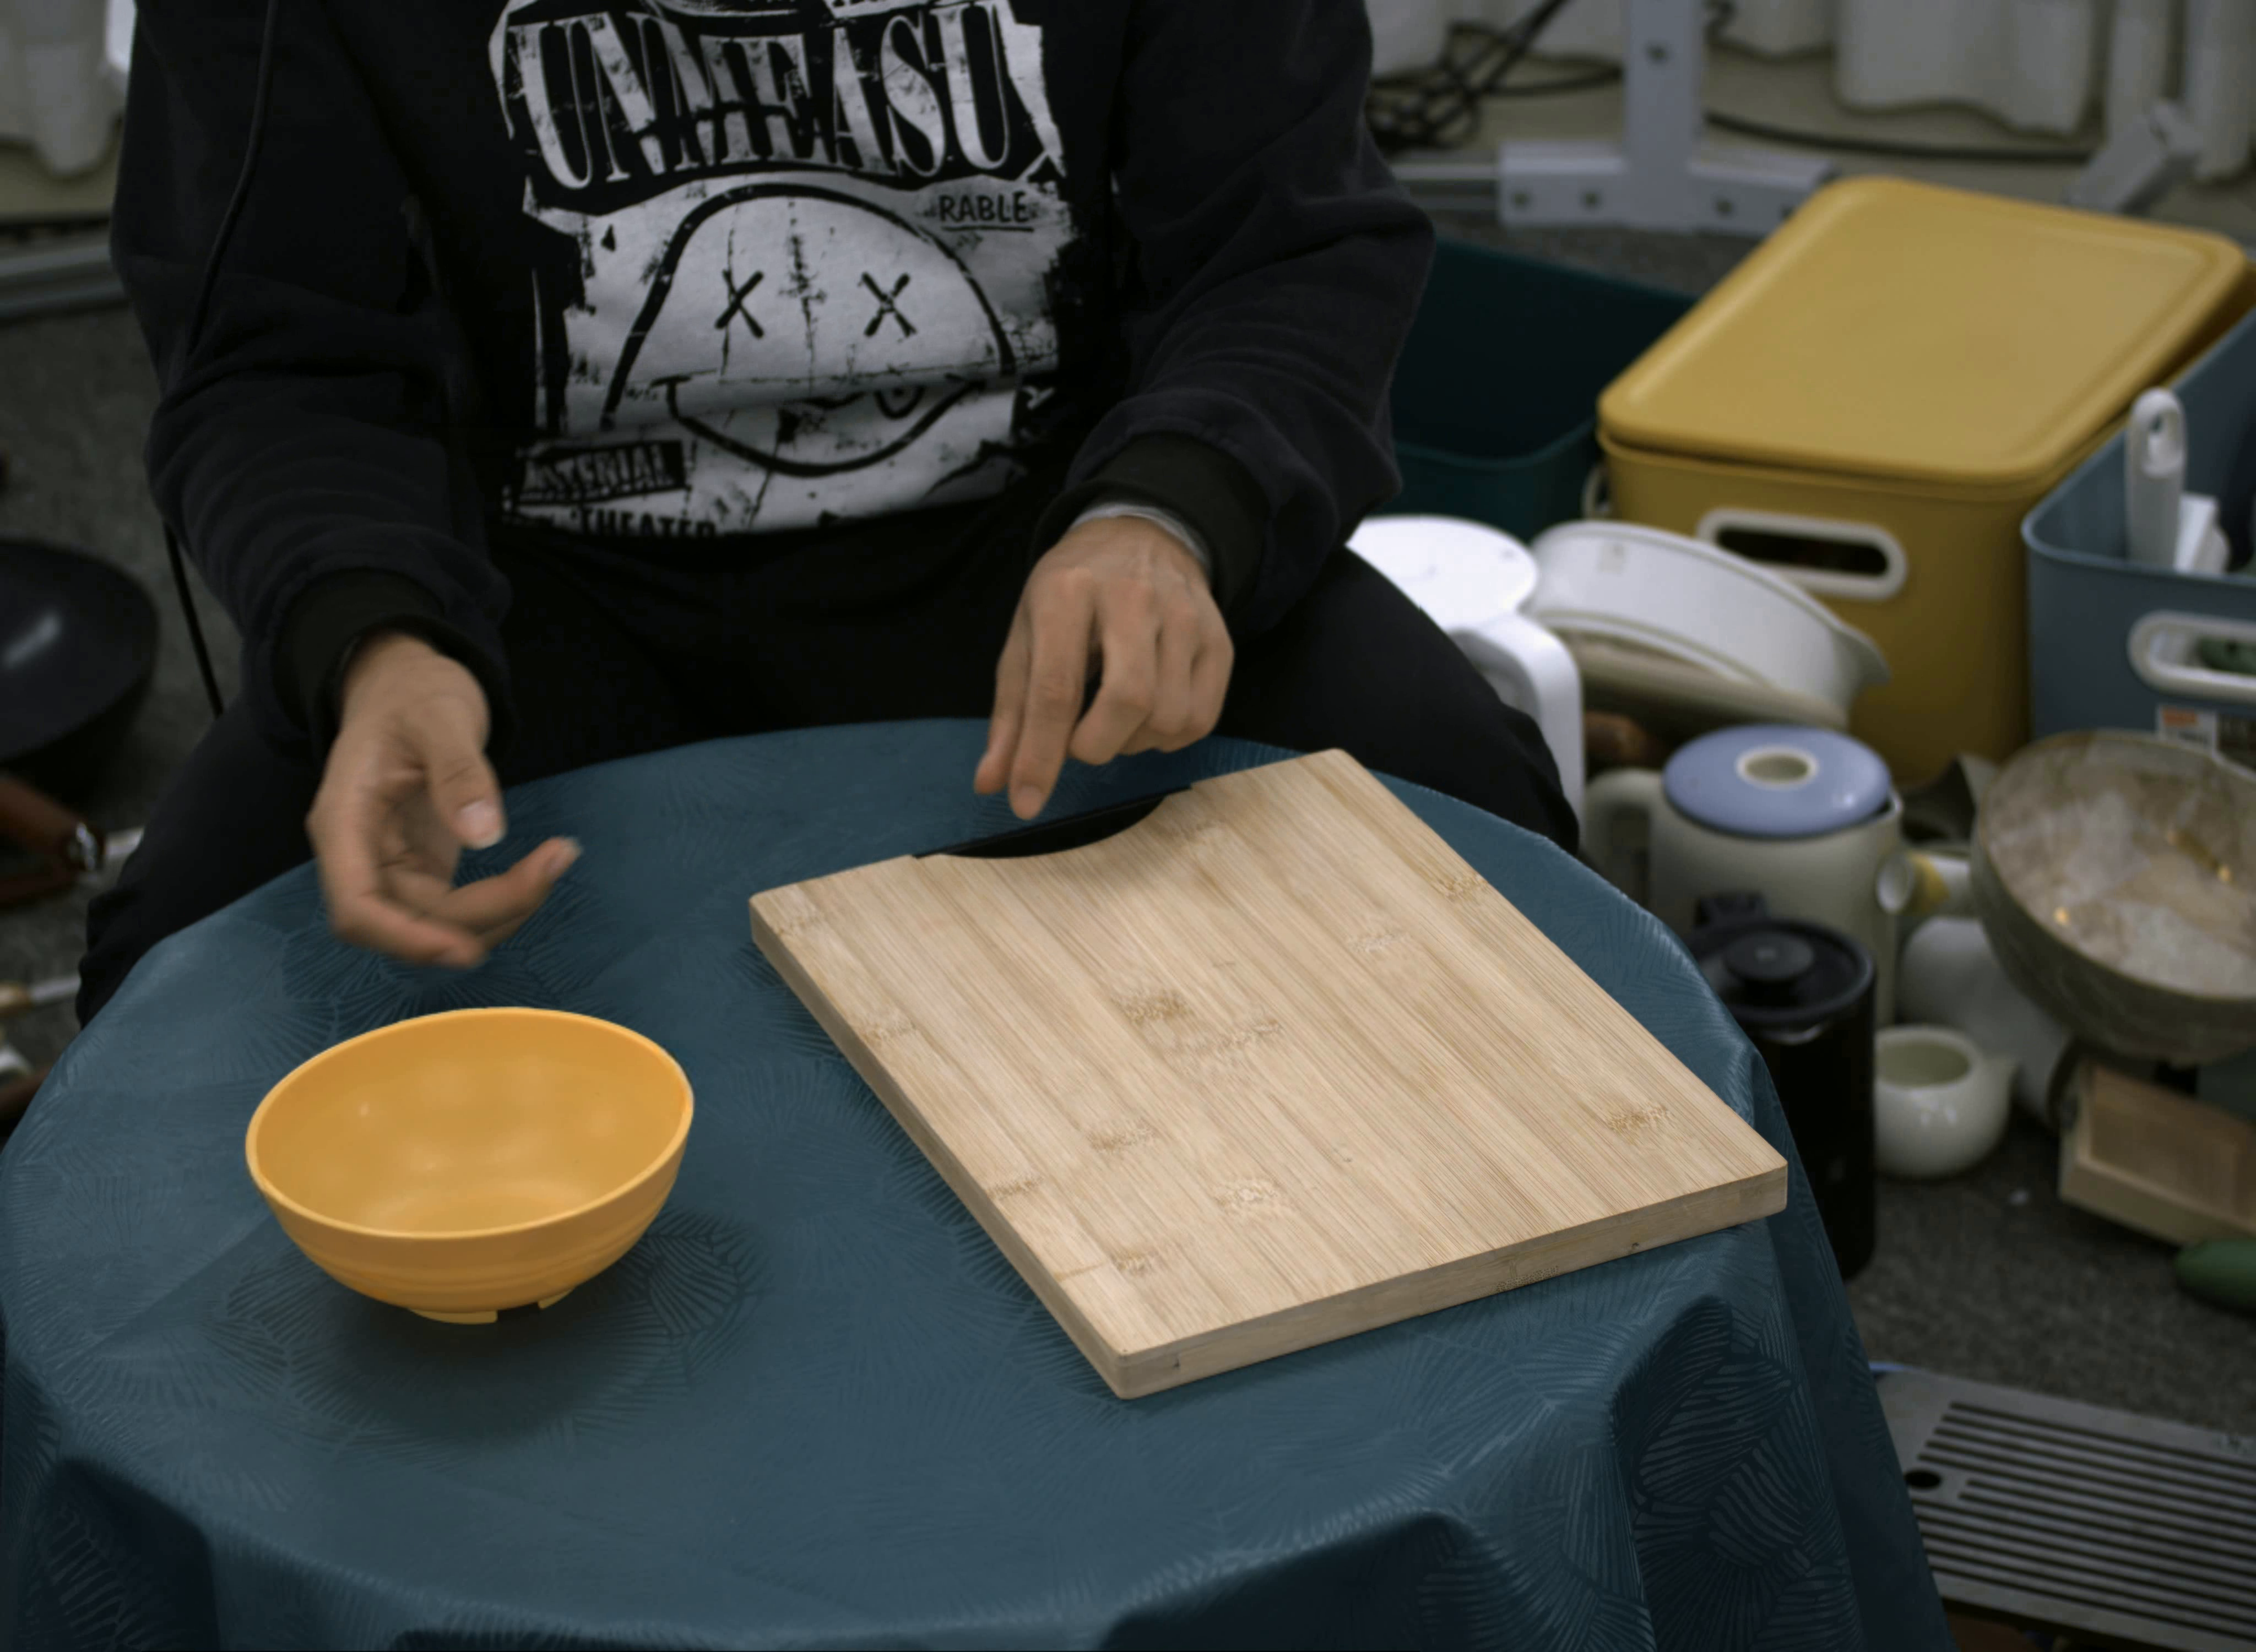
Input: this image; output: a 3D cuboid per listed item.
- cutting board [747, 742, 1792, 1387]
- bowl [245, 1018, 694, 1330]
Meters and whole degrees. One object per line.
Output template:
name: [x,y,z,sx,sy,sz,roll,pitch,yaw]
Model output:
cutting board: [0.039,0.074,1.932,0.251,0.023,0.351,-14,29,-21]
bowl: [-0.212,0.122,1.821,0.144,0.059,0.147,0,26,1]
